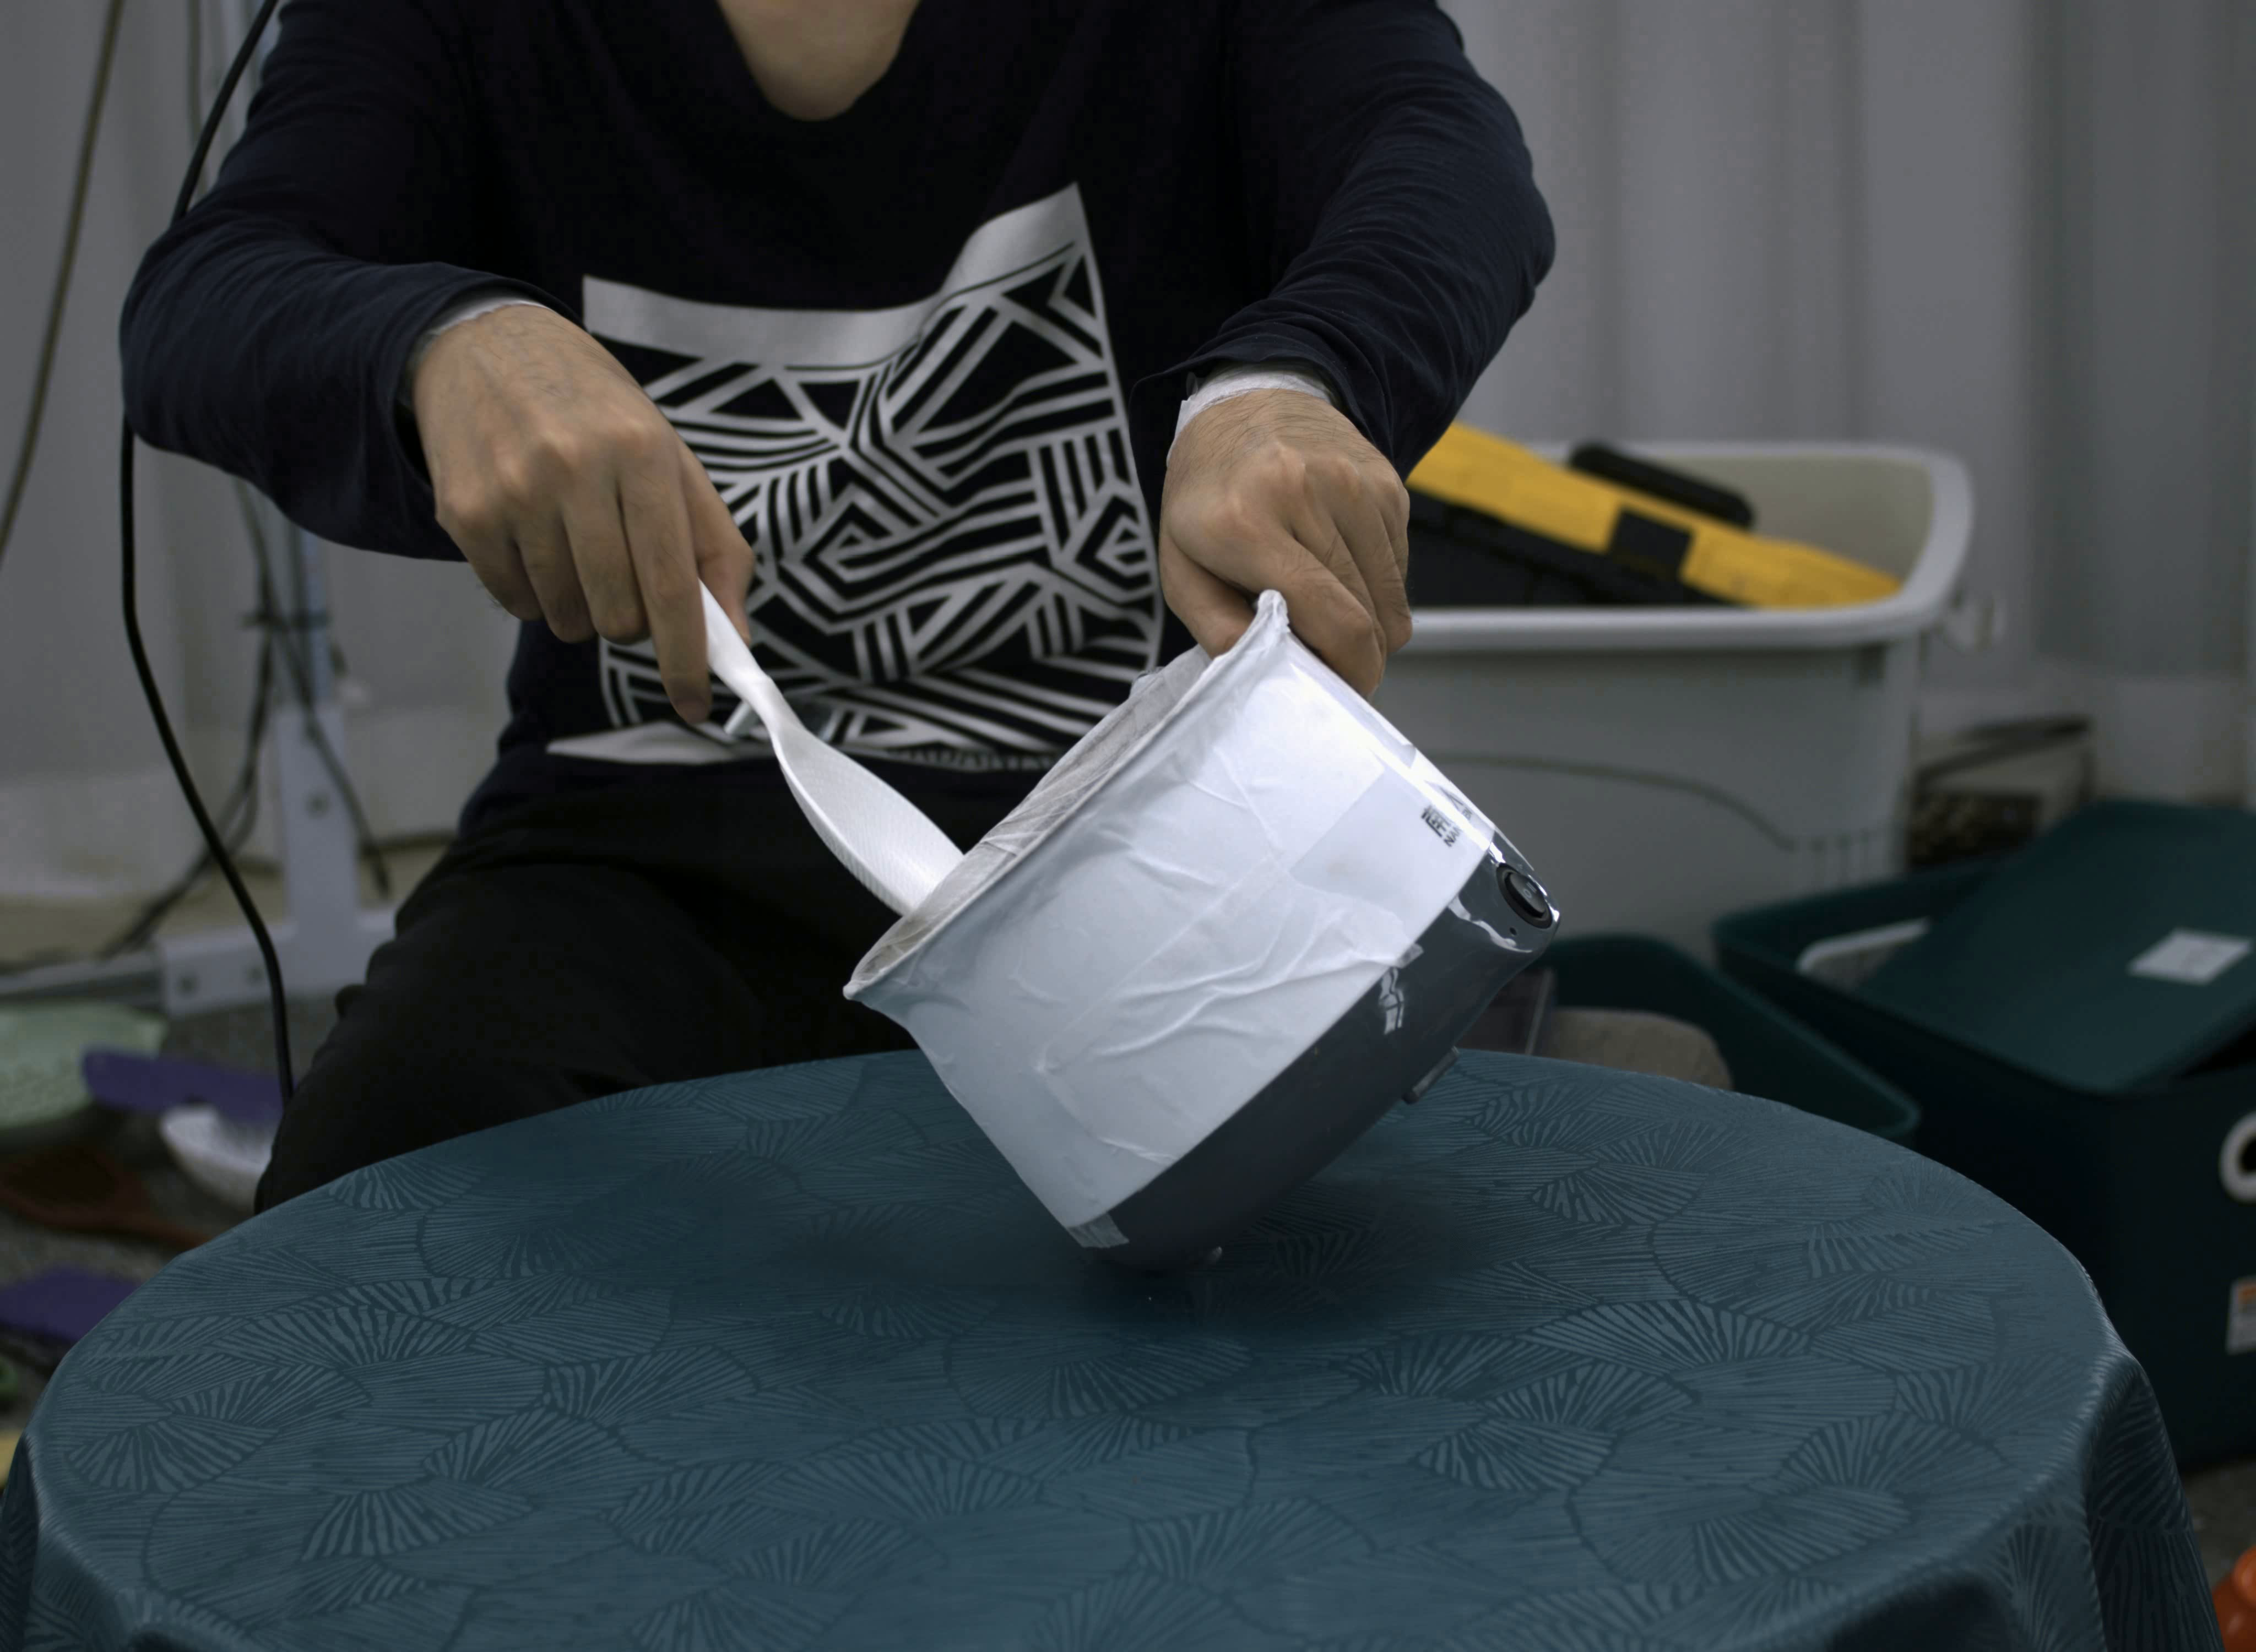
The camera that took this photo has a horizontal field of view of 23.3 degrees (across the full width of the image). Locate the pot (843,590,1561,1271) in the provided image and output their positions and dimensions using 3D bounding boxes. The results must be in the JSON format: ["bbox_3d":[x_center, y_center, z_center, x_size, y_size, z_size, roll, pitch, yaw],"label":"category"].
[{"bbox_3d":[0.029,0.026,1.662,0.178,0.136,0.235,-38,7,23],"label":"pot"}]

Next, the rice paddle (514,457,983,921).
[{"bbox_3d":[-0.110,-0.037,1.686,0.207,0.029,0.068,44,17,17],"label":"rice paddle"}]
